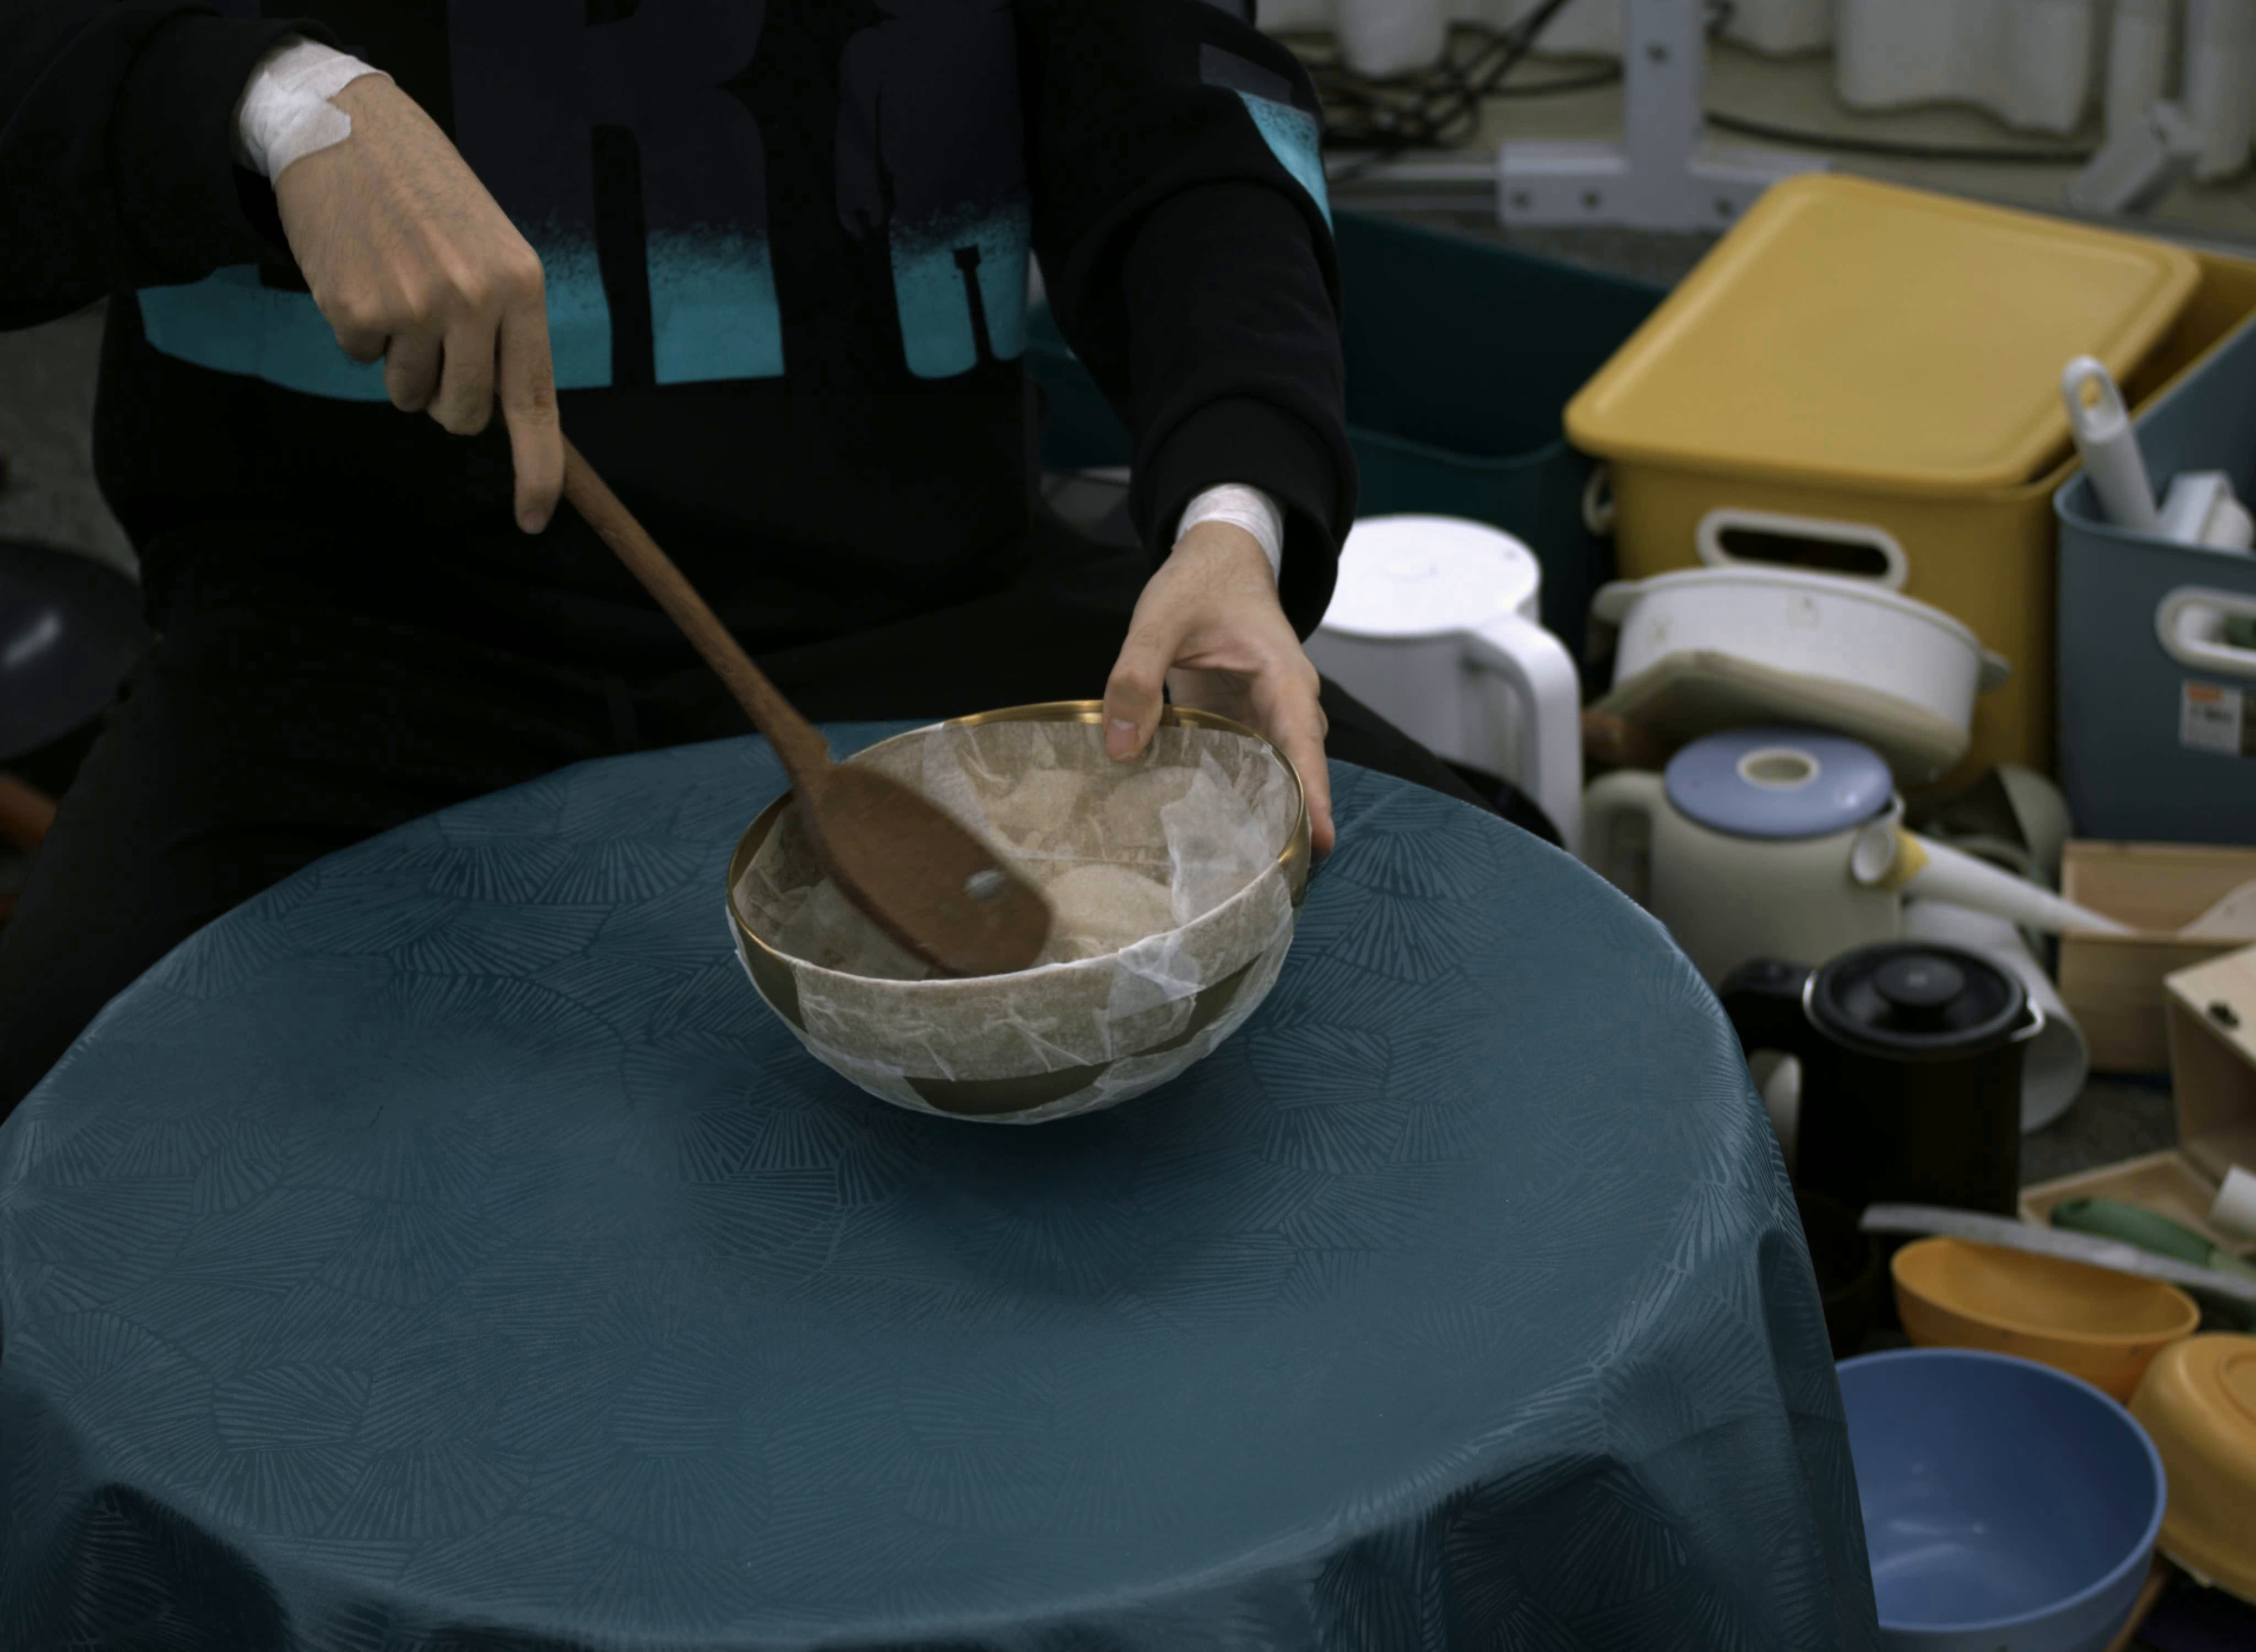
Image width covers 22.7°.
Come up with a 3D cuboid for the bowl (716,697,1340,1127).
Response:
[{"bbox_3d":[-0.028,0.040,1.907,0.213,0.094,0.218,-9,24,4],"label":"bowl"}]

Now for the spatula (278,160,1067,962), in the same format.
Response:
[{"bbox_3d":[-0.163,-0.092,1.951,0.387,0.015,0.097,48,27,6],"label":"spatula"}]
